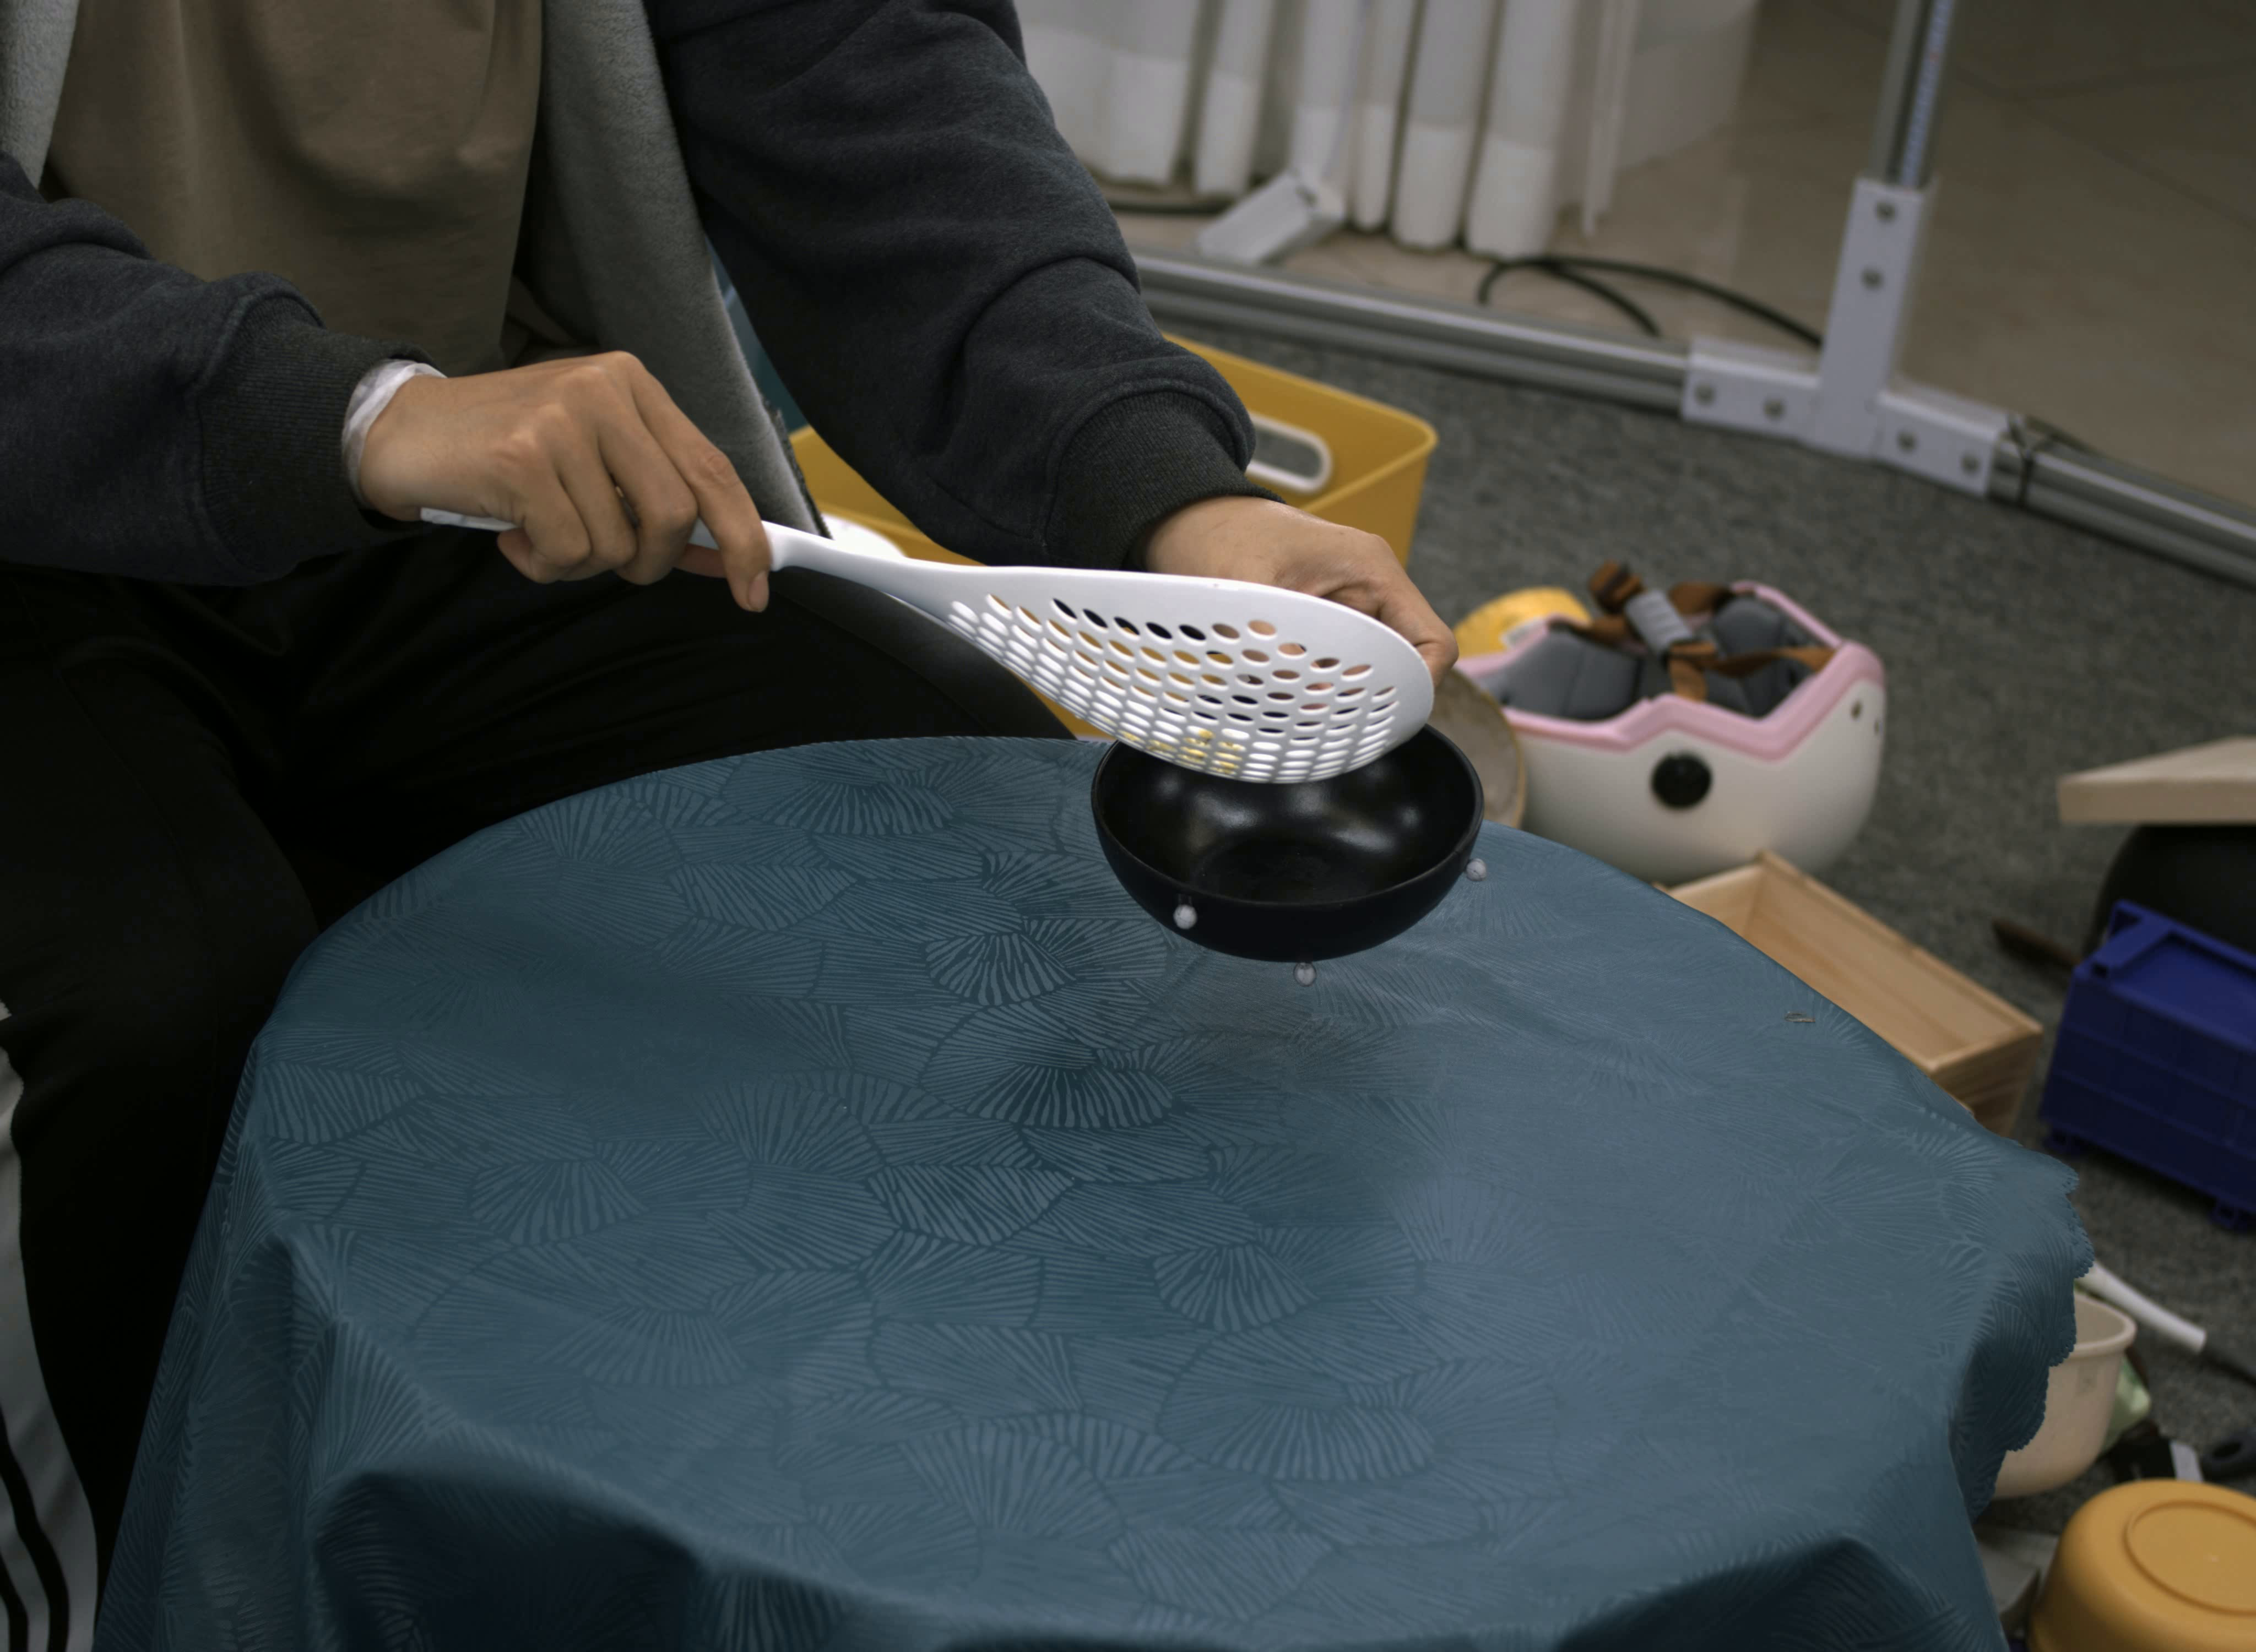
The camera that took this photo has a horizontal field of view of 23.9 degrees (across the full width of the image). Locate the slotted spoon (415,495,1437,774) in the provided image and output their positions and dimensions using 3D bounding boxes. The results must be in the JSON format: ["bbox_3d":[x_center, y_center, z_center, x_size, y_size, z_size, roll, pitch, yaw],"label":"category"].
[{"bbox_3d":[-0.068,-0.074,1.802,0.347,0.050,0.136,17,-18,-2],"label":"slotted spoon"}]
